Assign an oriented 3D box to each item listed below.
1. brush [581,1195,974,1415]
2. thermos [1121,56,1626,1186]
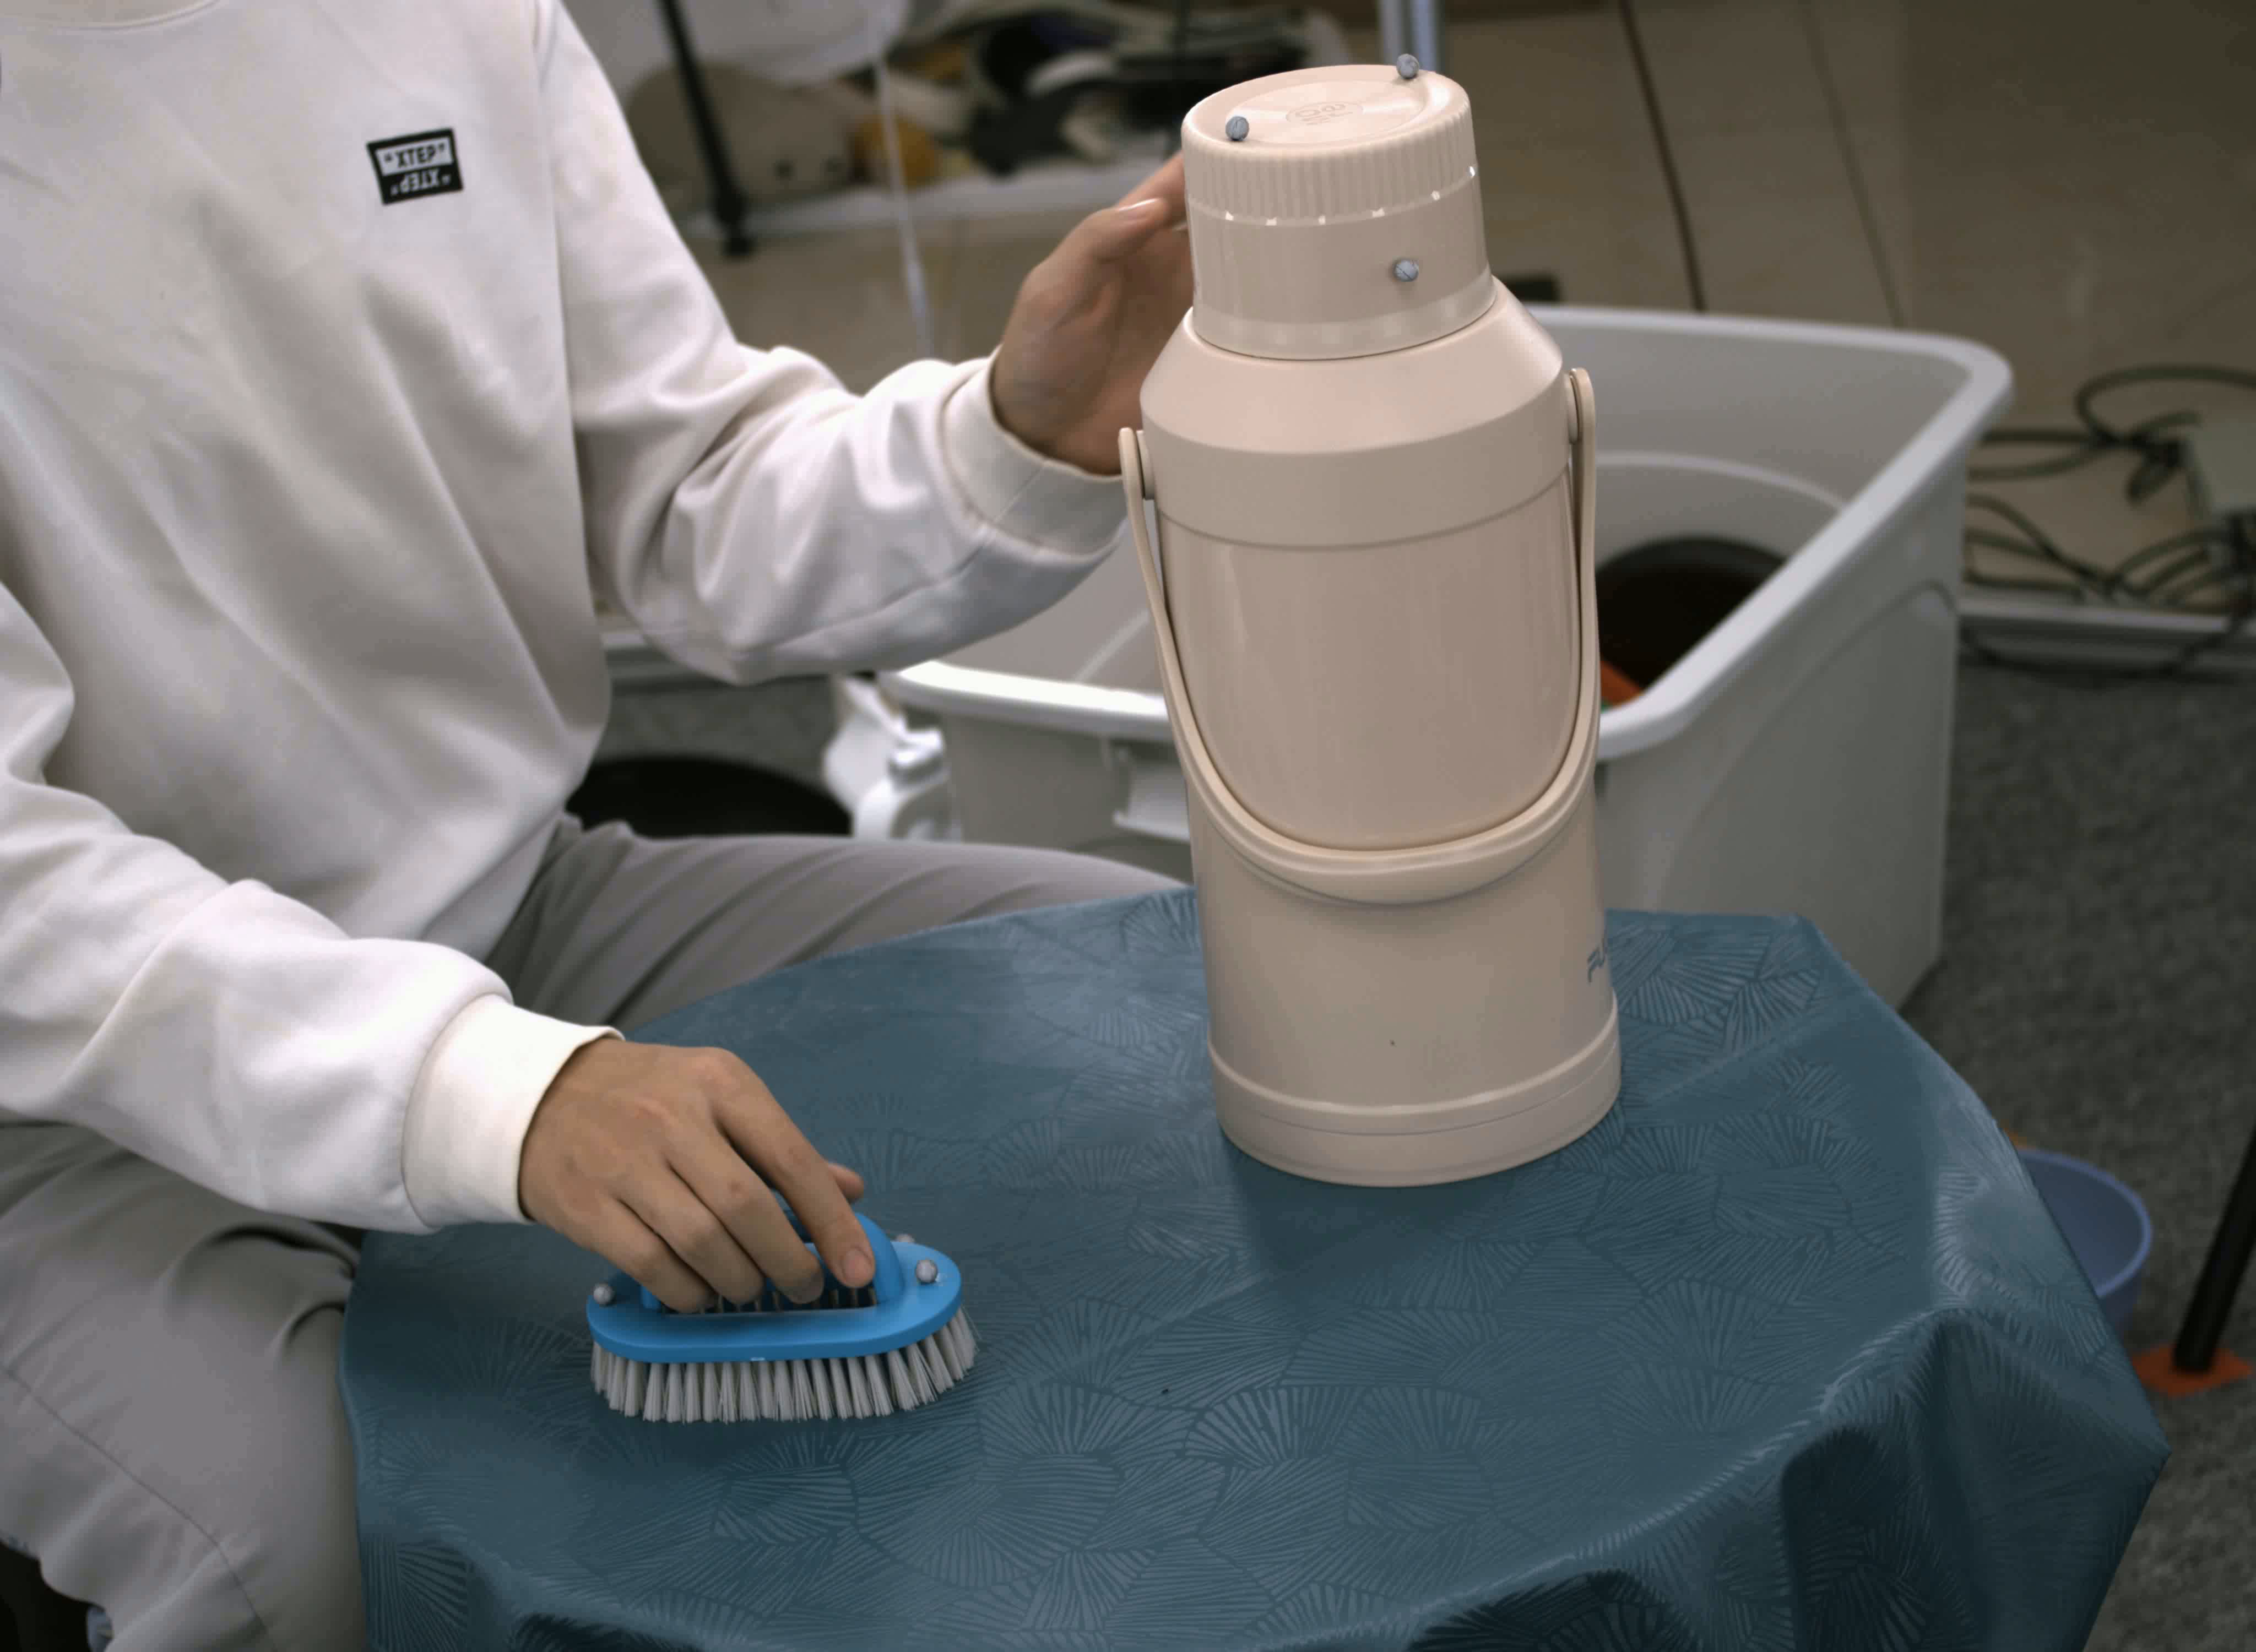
[{"bbox_3d":[-0.129,0.164,2.041,0.141,0.065,0.083,-2,30,10],"label":"brush"},{"bbox_3d":[0.093,-0.083,2.123,0.175,0.413,0.204,-9,25,-2],"label":"thermos"}]
